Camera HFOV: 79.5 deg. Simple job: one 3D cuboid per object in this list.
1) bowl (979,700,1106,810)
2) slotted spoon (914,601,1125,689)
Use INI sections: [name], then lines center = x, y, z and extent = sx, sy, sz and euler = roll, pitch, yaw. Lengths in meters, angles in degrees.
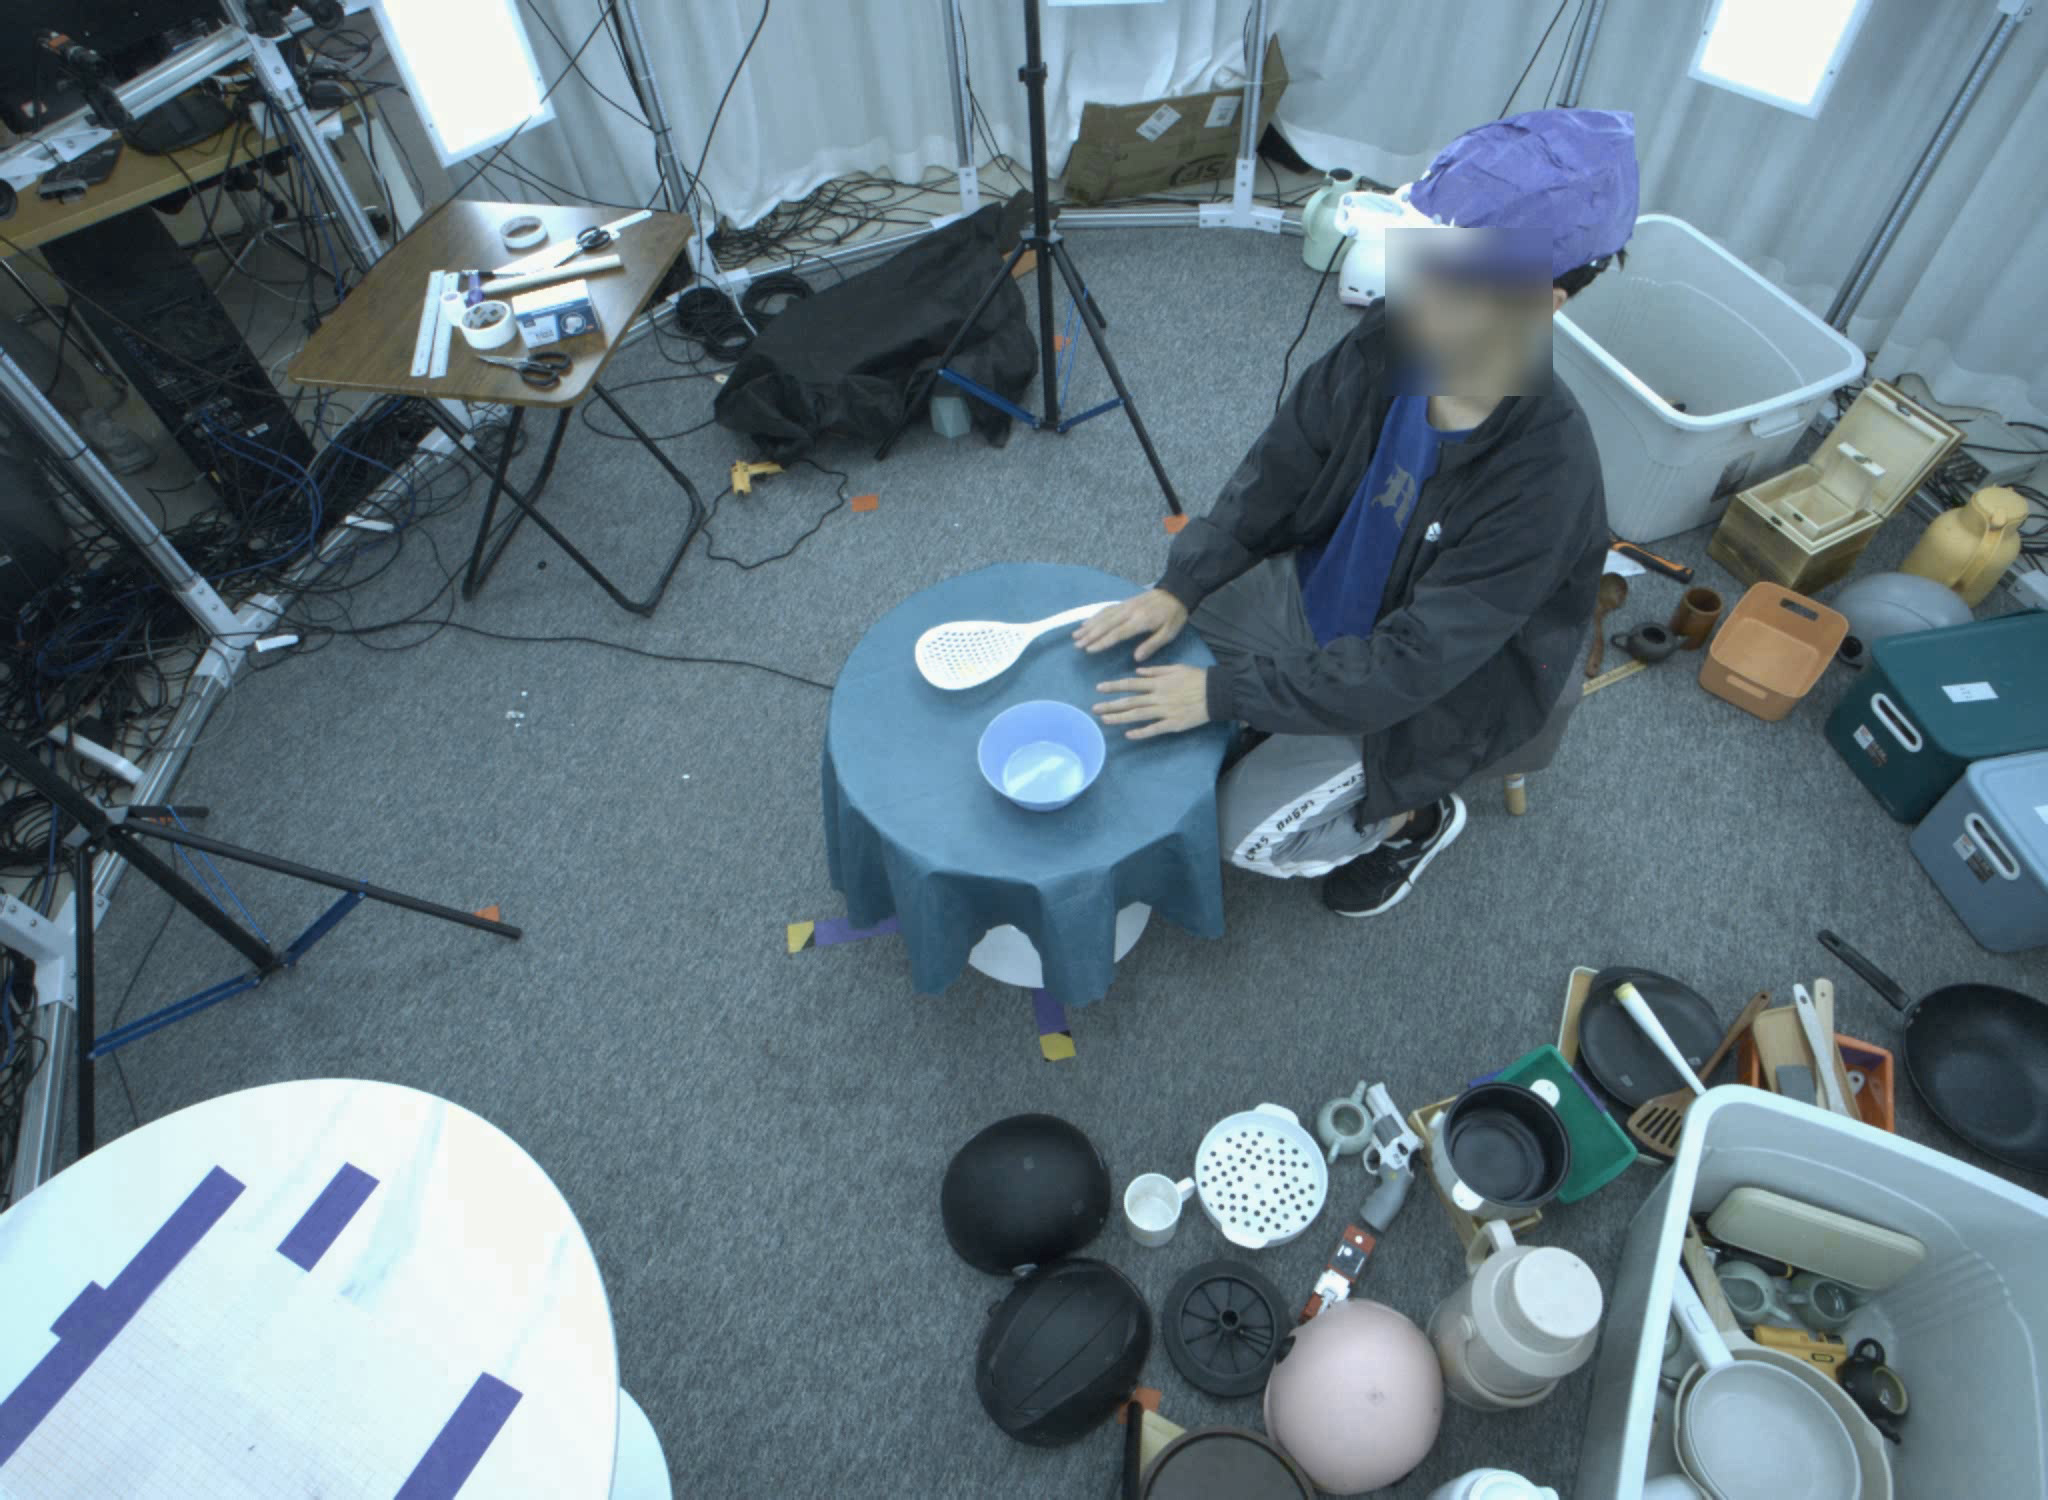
[bowl]
center = 0.027, 0.018, 1.720
extent = 0.176, 0.071, 0.174
euler = 0, 55, 2
[slotted spoon]
center = 0.002, -0.174, 1.877
extent = 0.350, 0.051, 0.134
euler = -23, 53, -14
